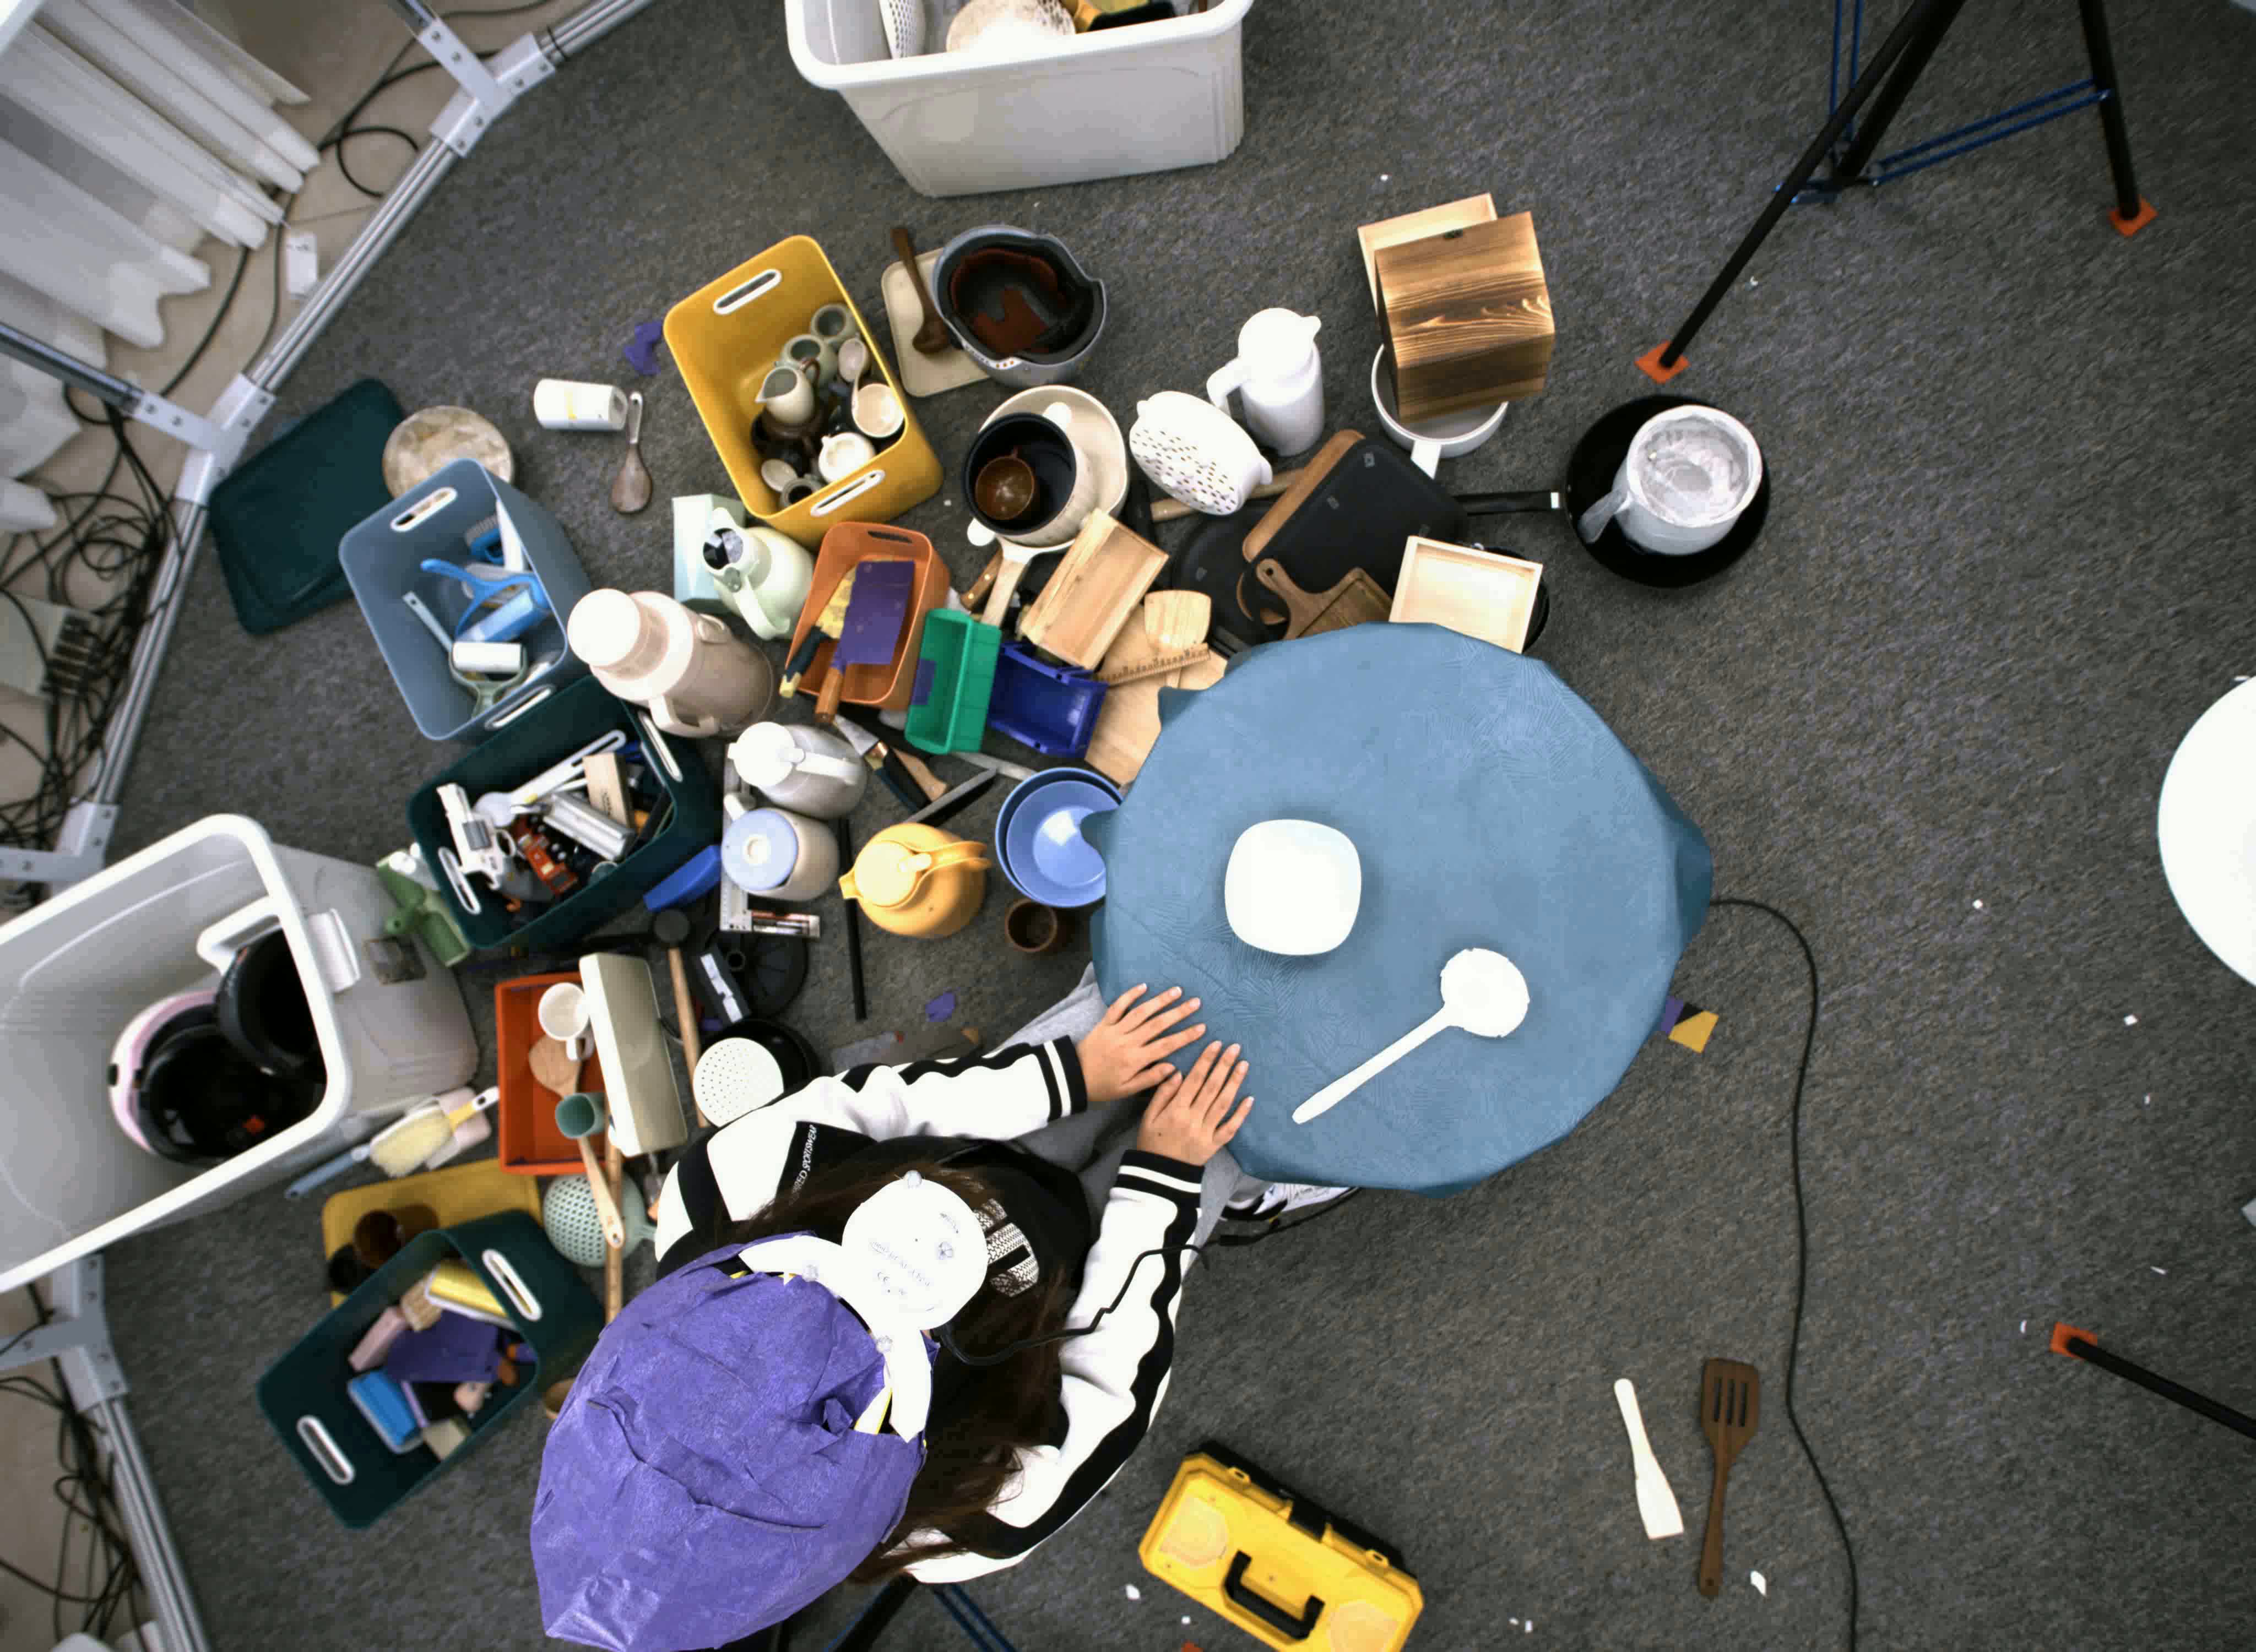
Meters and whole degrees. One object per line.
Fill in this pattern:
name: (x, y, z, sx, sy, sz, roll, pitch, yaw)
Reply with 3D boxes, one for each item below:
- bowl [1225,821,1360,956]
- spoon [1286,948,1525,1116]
bowl: (0.174, 0.066, 1.452, 0.152, 0.058, 0.151, -1, 86, 11)
spoon: (0.277, 0.219, 1.422, 0.279, 0.059, 0.100, -32, 76, 7)
